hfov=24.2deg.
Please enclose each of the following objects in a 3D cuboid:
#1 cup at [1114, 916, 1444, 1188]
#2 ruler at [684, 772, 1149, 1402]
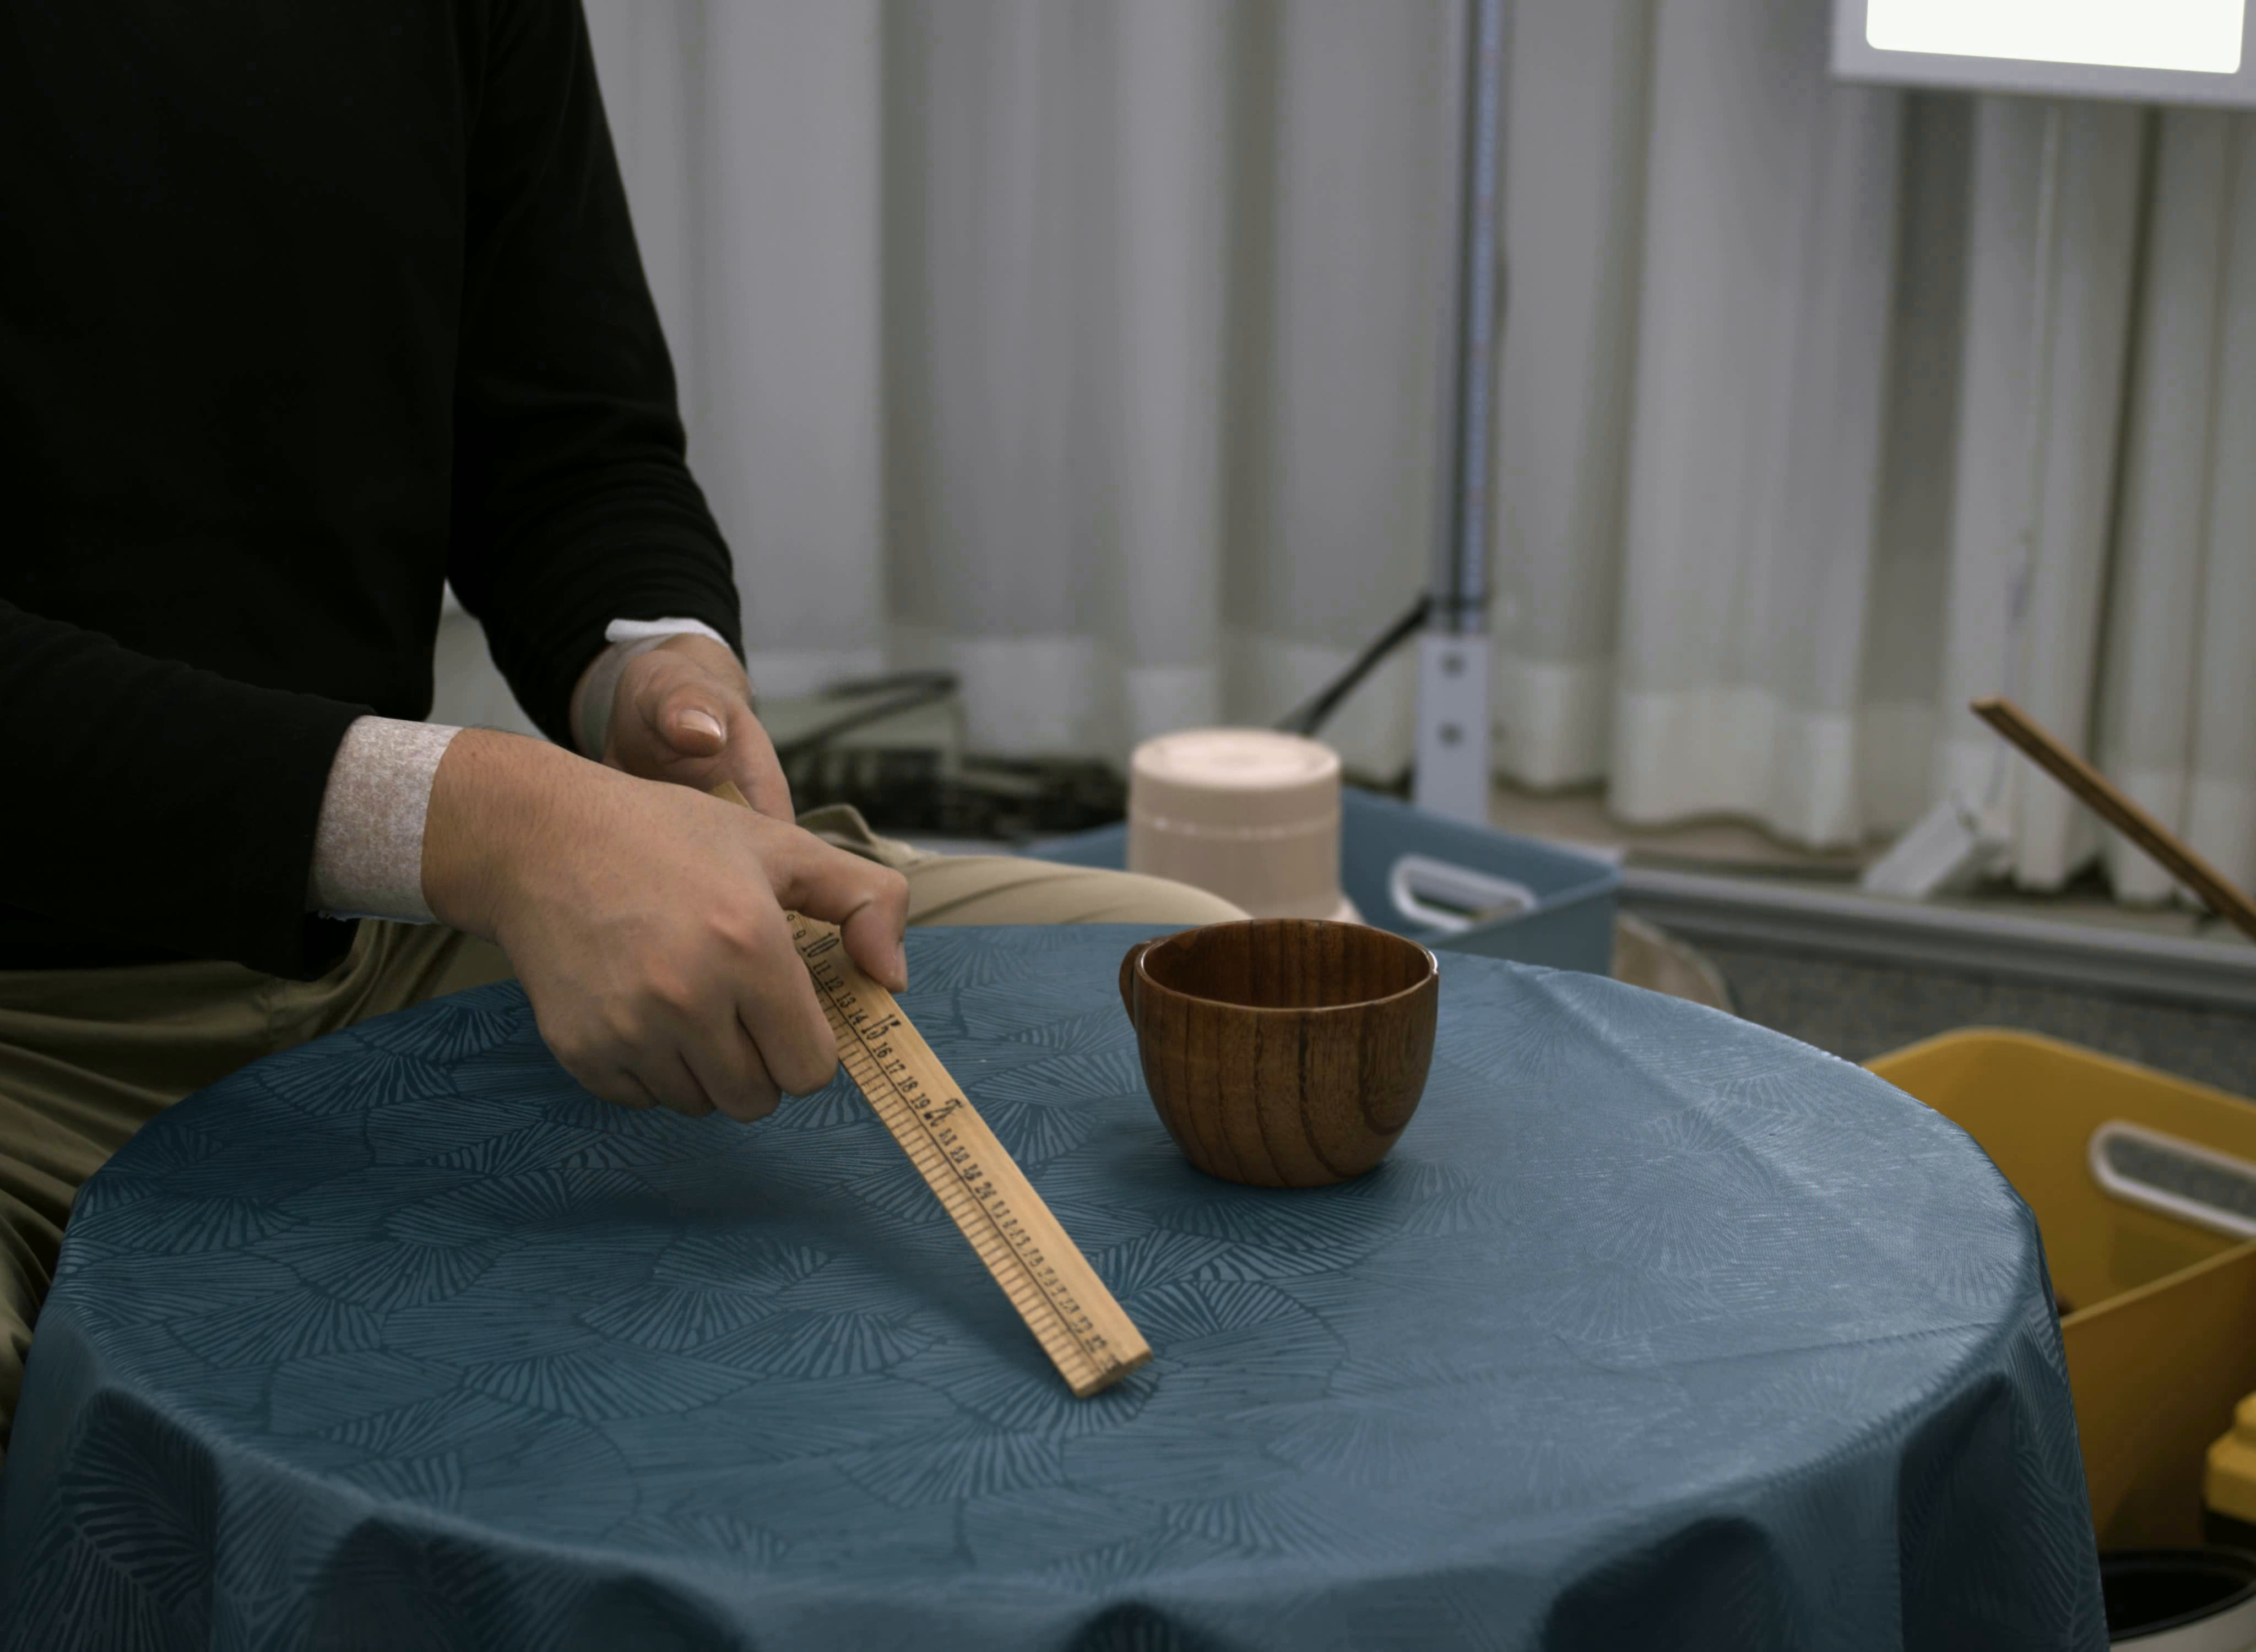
[{"bbox_3d":[0.042,0.070,1.652,0.118,0.068,0.096,14,22,43],"label":"cup"},{"bbox_3d":[-0.070,0.069,1.579,0.027,0.022,0.327,-23,38,-12],"label":"ruler"}]
